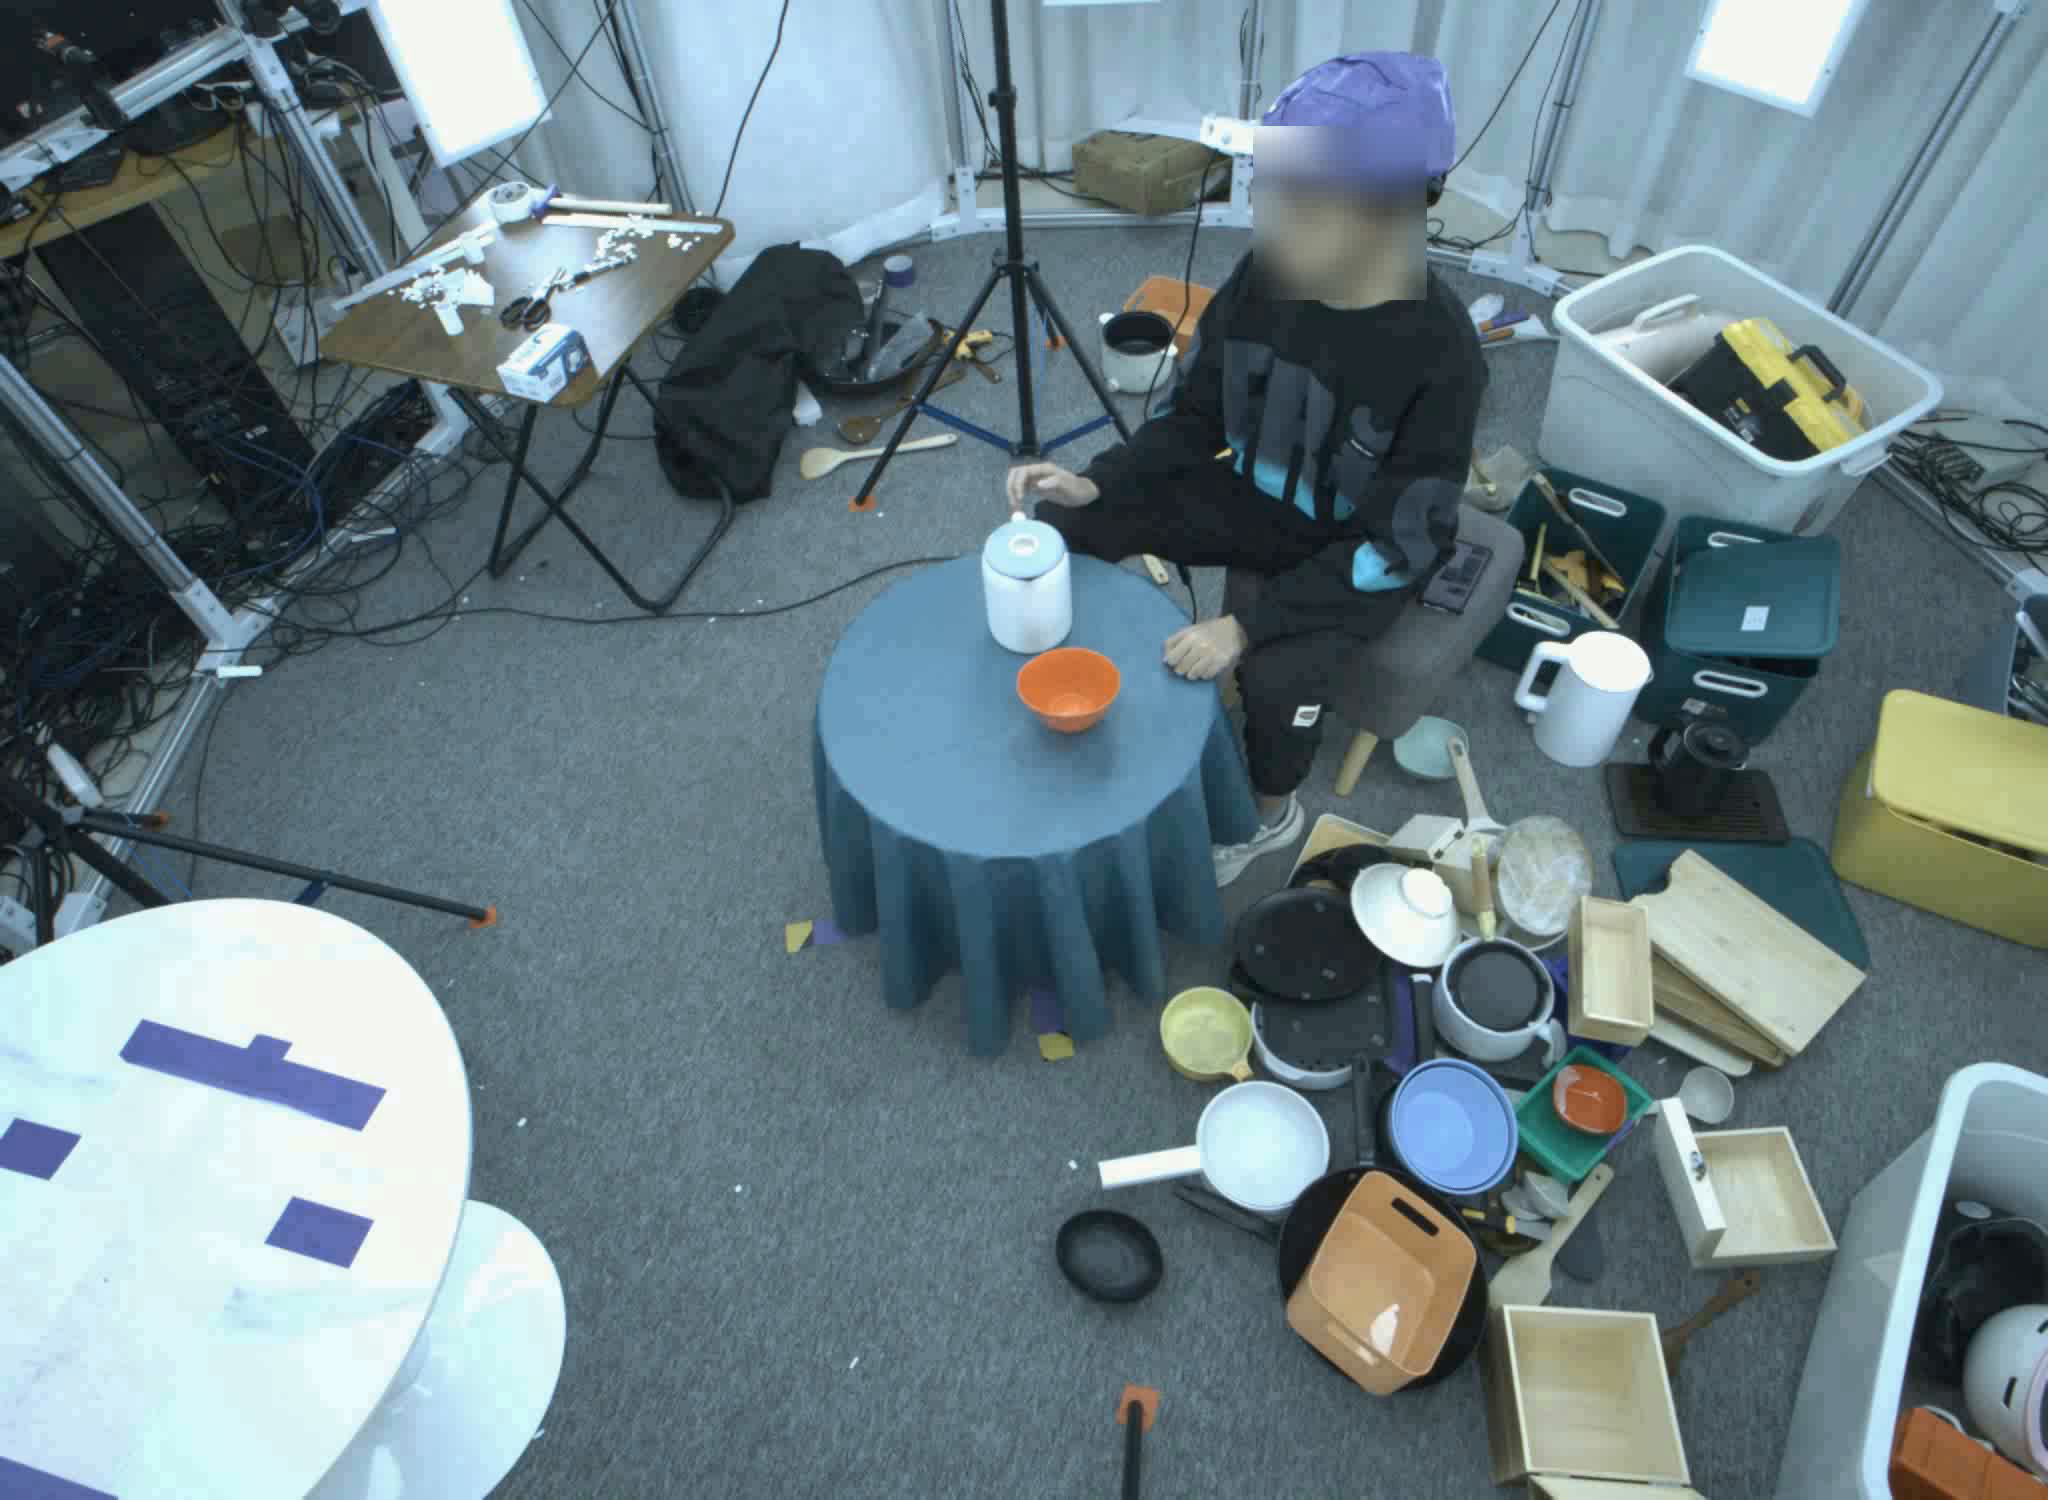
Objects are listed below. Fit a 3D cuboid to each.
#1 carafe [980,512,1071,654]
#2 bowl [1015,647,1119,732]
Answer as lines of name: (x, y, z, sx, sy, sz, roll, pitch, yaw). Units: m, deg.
carafe: (-0.001, -0.266, 1.867, 0.133, 0.184, 0.188, -8, 52, -4)
bowl: (0.063, -0.073, 1.771, 0.148, 0.106, 0.146, -1, 55, 2)
